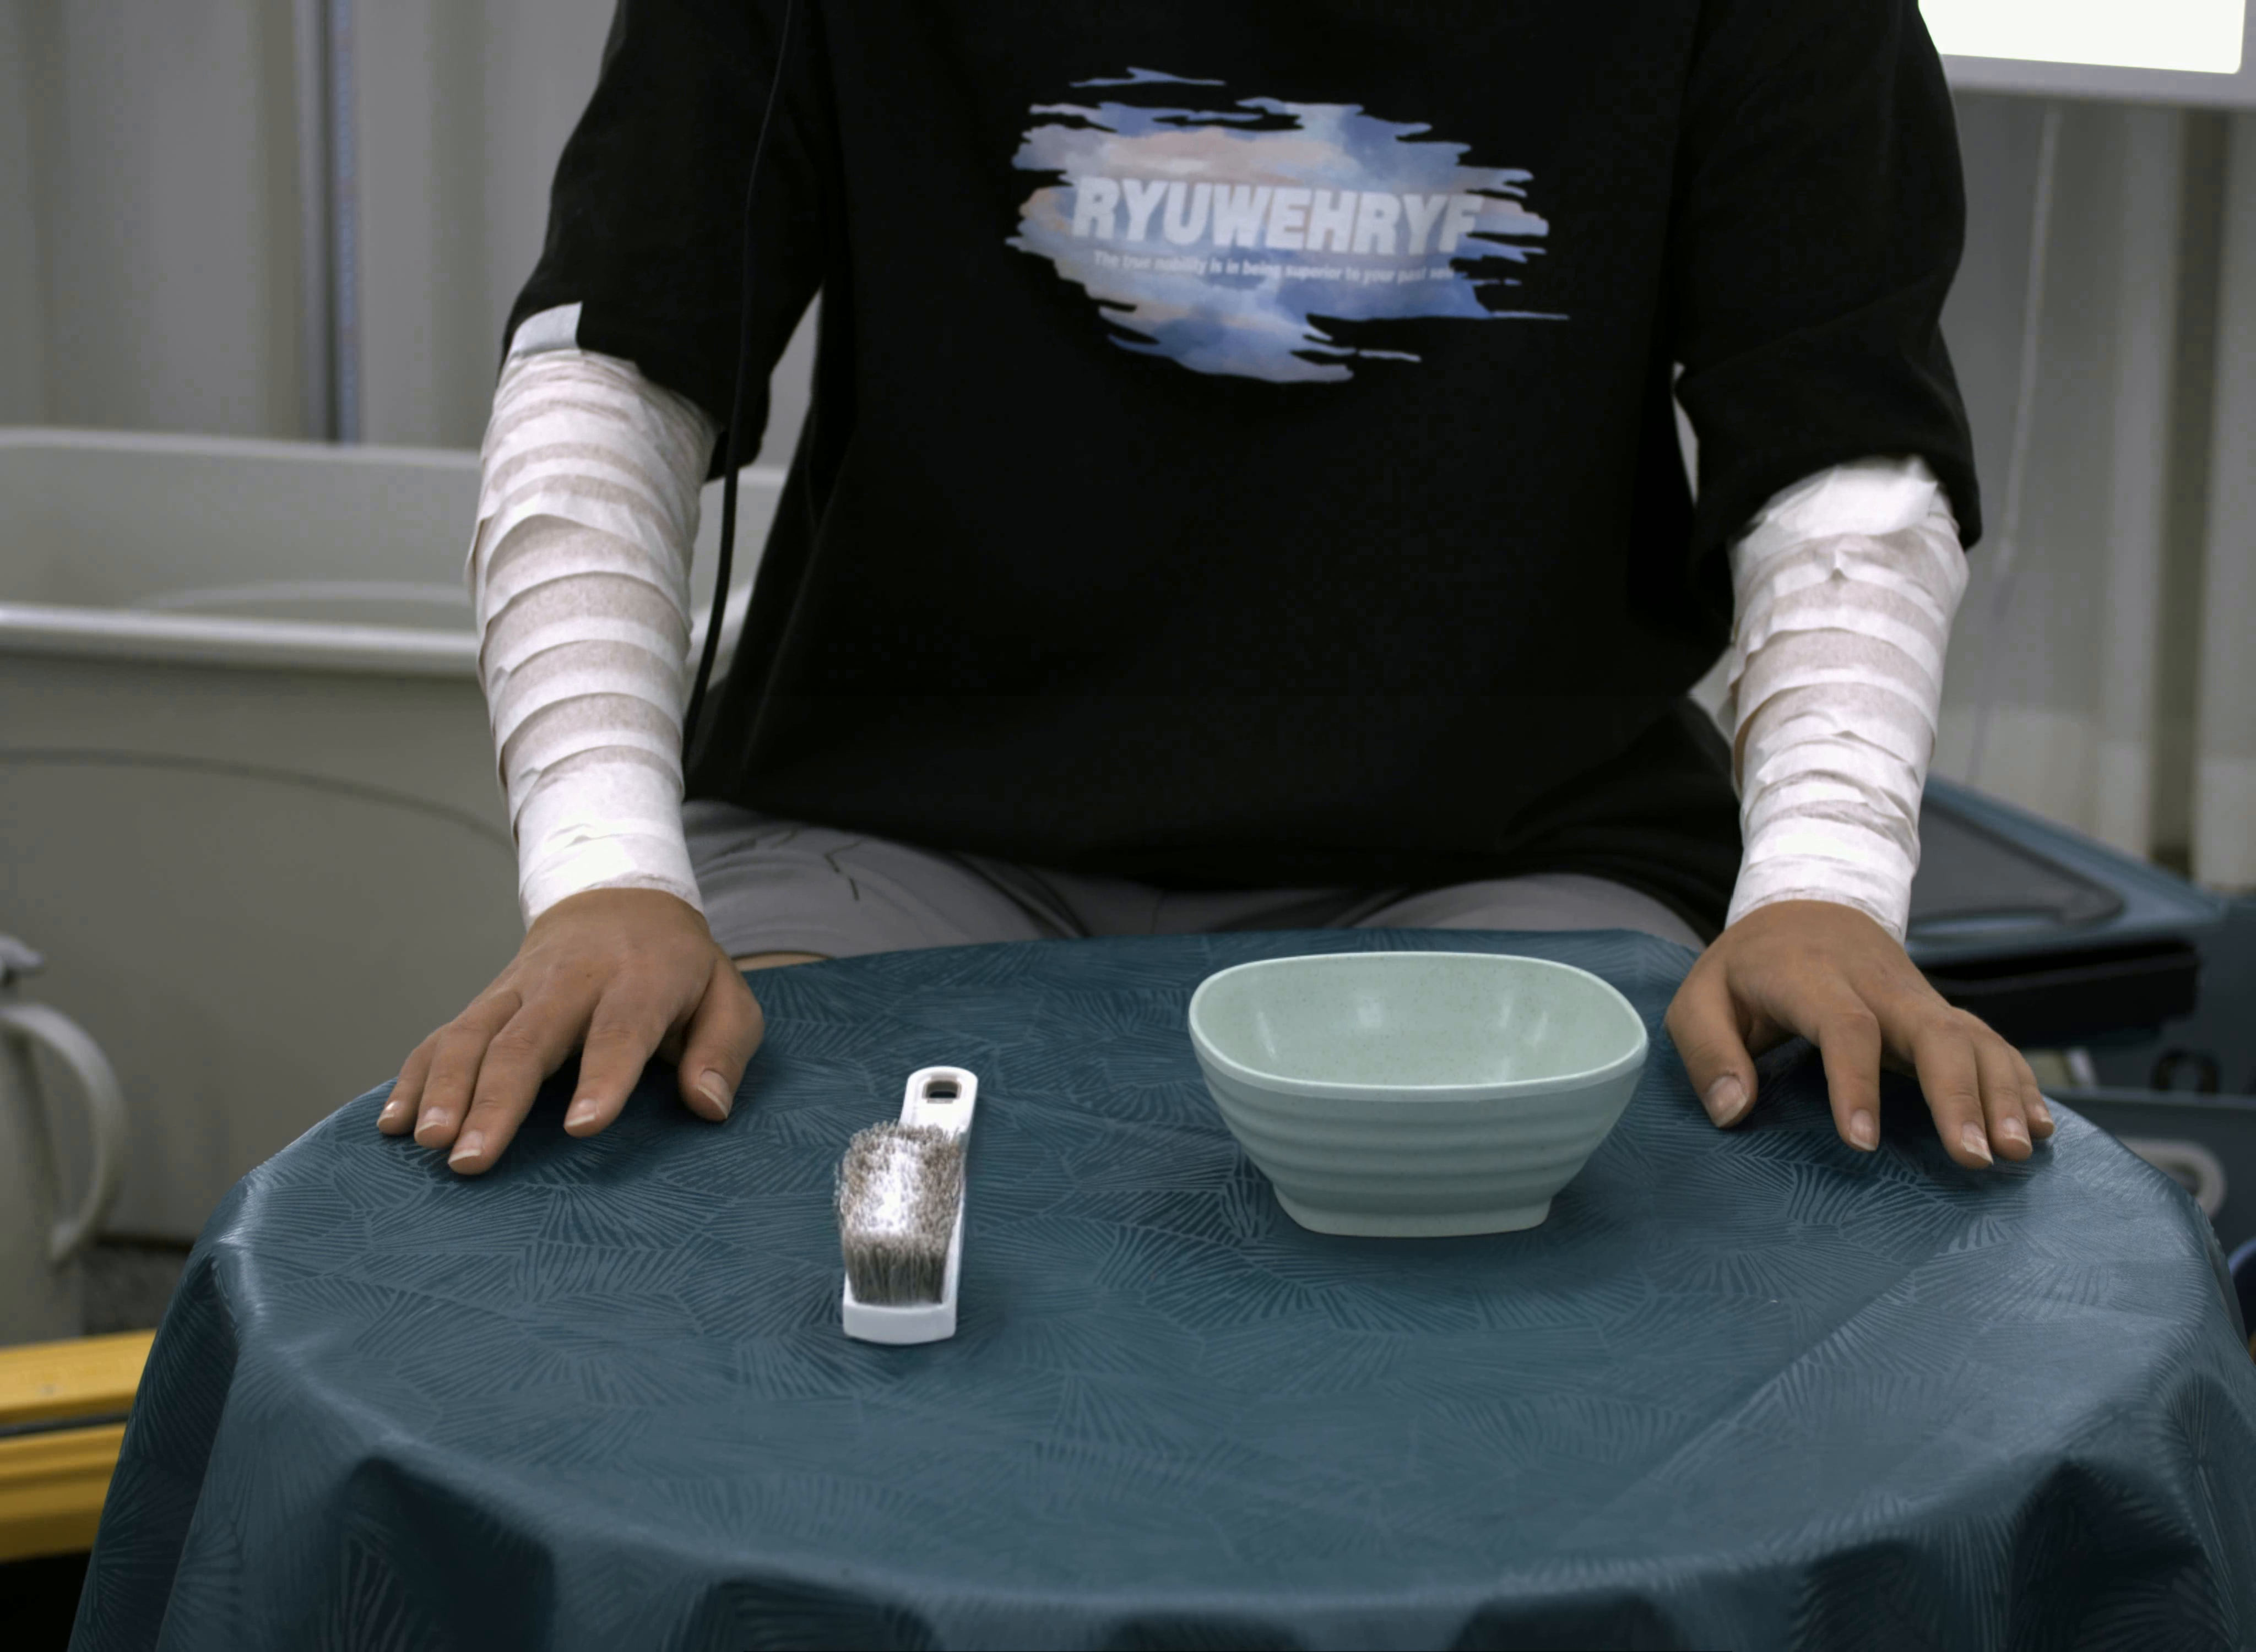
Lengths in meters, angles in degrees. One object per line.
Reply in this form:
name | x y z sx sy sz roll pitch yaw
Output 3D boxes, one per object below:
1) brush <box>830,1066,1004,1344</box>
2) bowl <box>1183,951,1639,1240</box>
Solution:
brush | -0.060 0.094 1.592 0.034 0.050 0.242 0 15 5
bowl | 0.086 0.086 1.618 0.151 0.059 0.150 2 16 0
